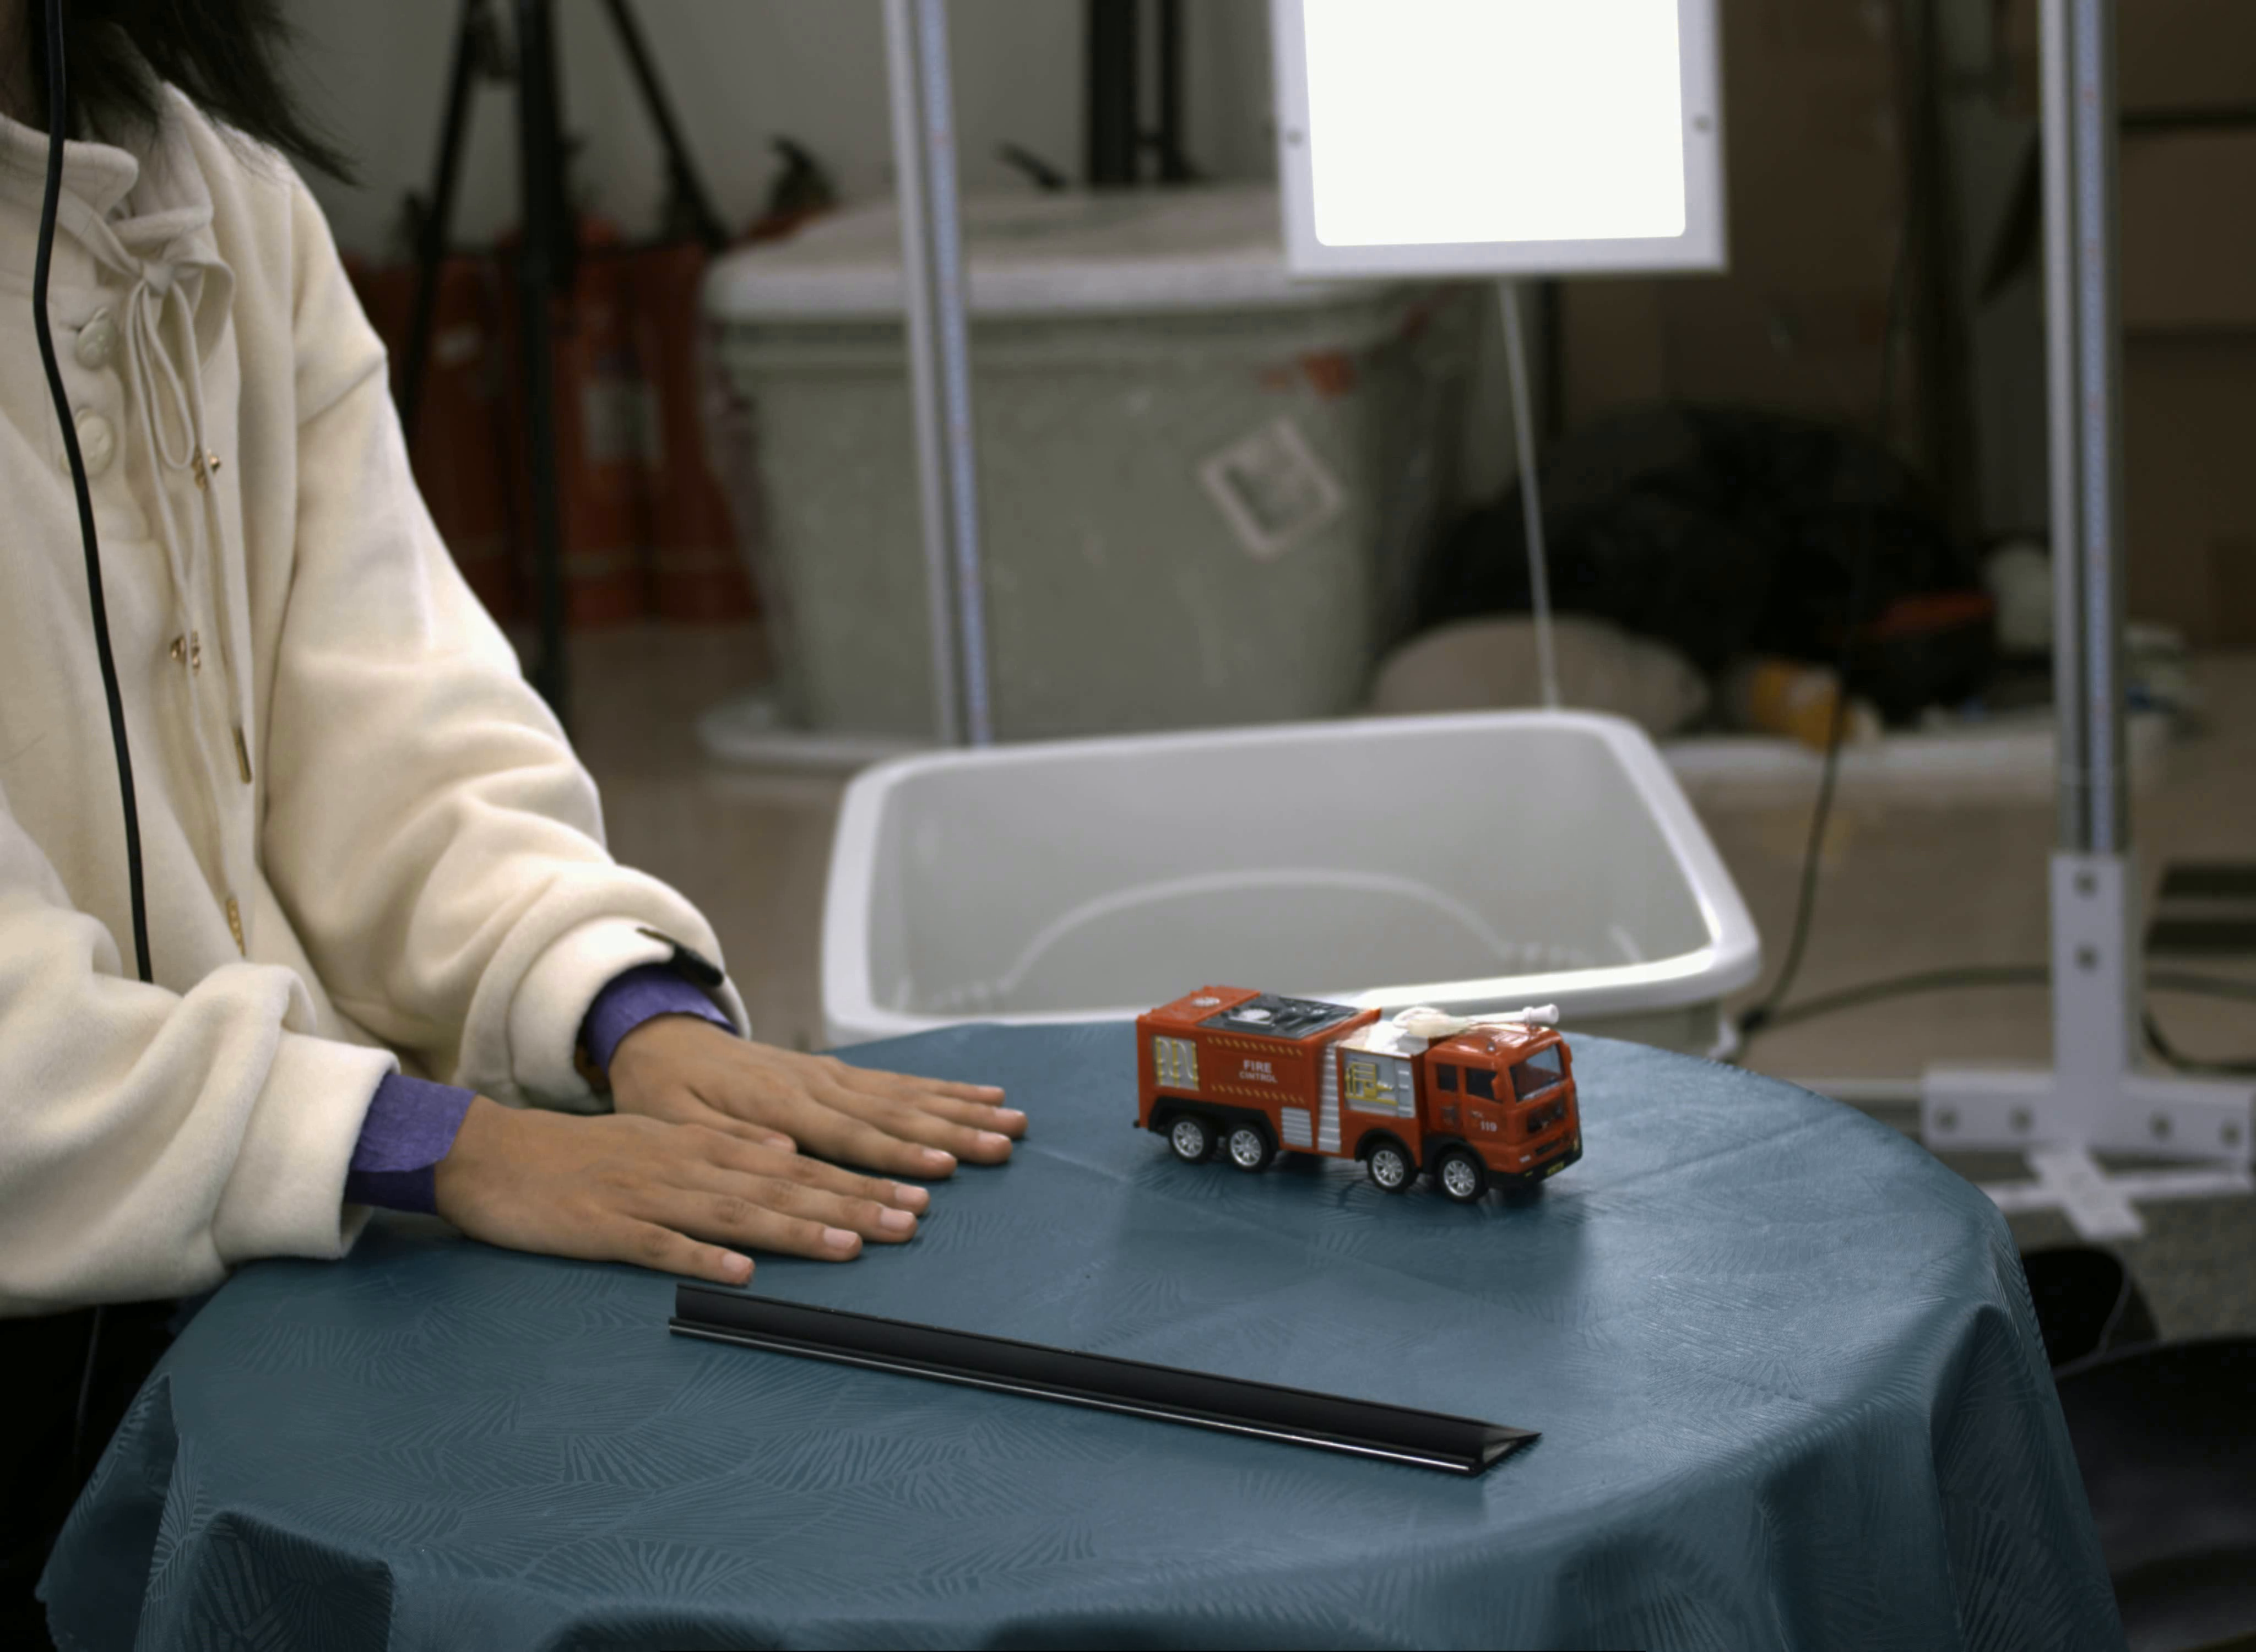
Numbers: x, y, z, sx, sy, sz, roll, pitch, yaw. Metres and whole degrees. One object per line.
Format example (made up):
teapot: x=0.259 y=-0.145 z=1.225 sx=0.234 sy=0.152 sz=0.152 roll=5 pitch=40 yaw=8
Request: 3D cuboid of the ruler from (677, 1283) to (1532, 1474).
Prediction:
ruler: x=-0.013 y=0.166 z=1.710 sx=0.319 sy=0.017 sz=0.038 roll=6 pitch=14 yaw=39

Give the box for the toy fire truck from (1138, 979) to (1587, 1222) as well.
toy fire truck: x=0.080 y=0.090 z=1.894 sx=0.171 sy=0.070 sz=0.052 roll=4 pitch=17 yaw=39
